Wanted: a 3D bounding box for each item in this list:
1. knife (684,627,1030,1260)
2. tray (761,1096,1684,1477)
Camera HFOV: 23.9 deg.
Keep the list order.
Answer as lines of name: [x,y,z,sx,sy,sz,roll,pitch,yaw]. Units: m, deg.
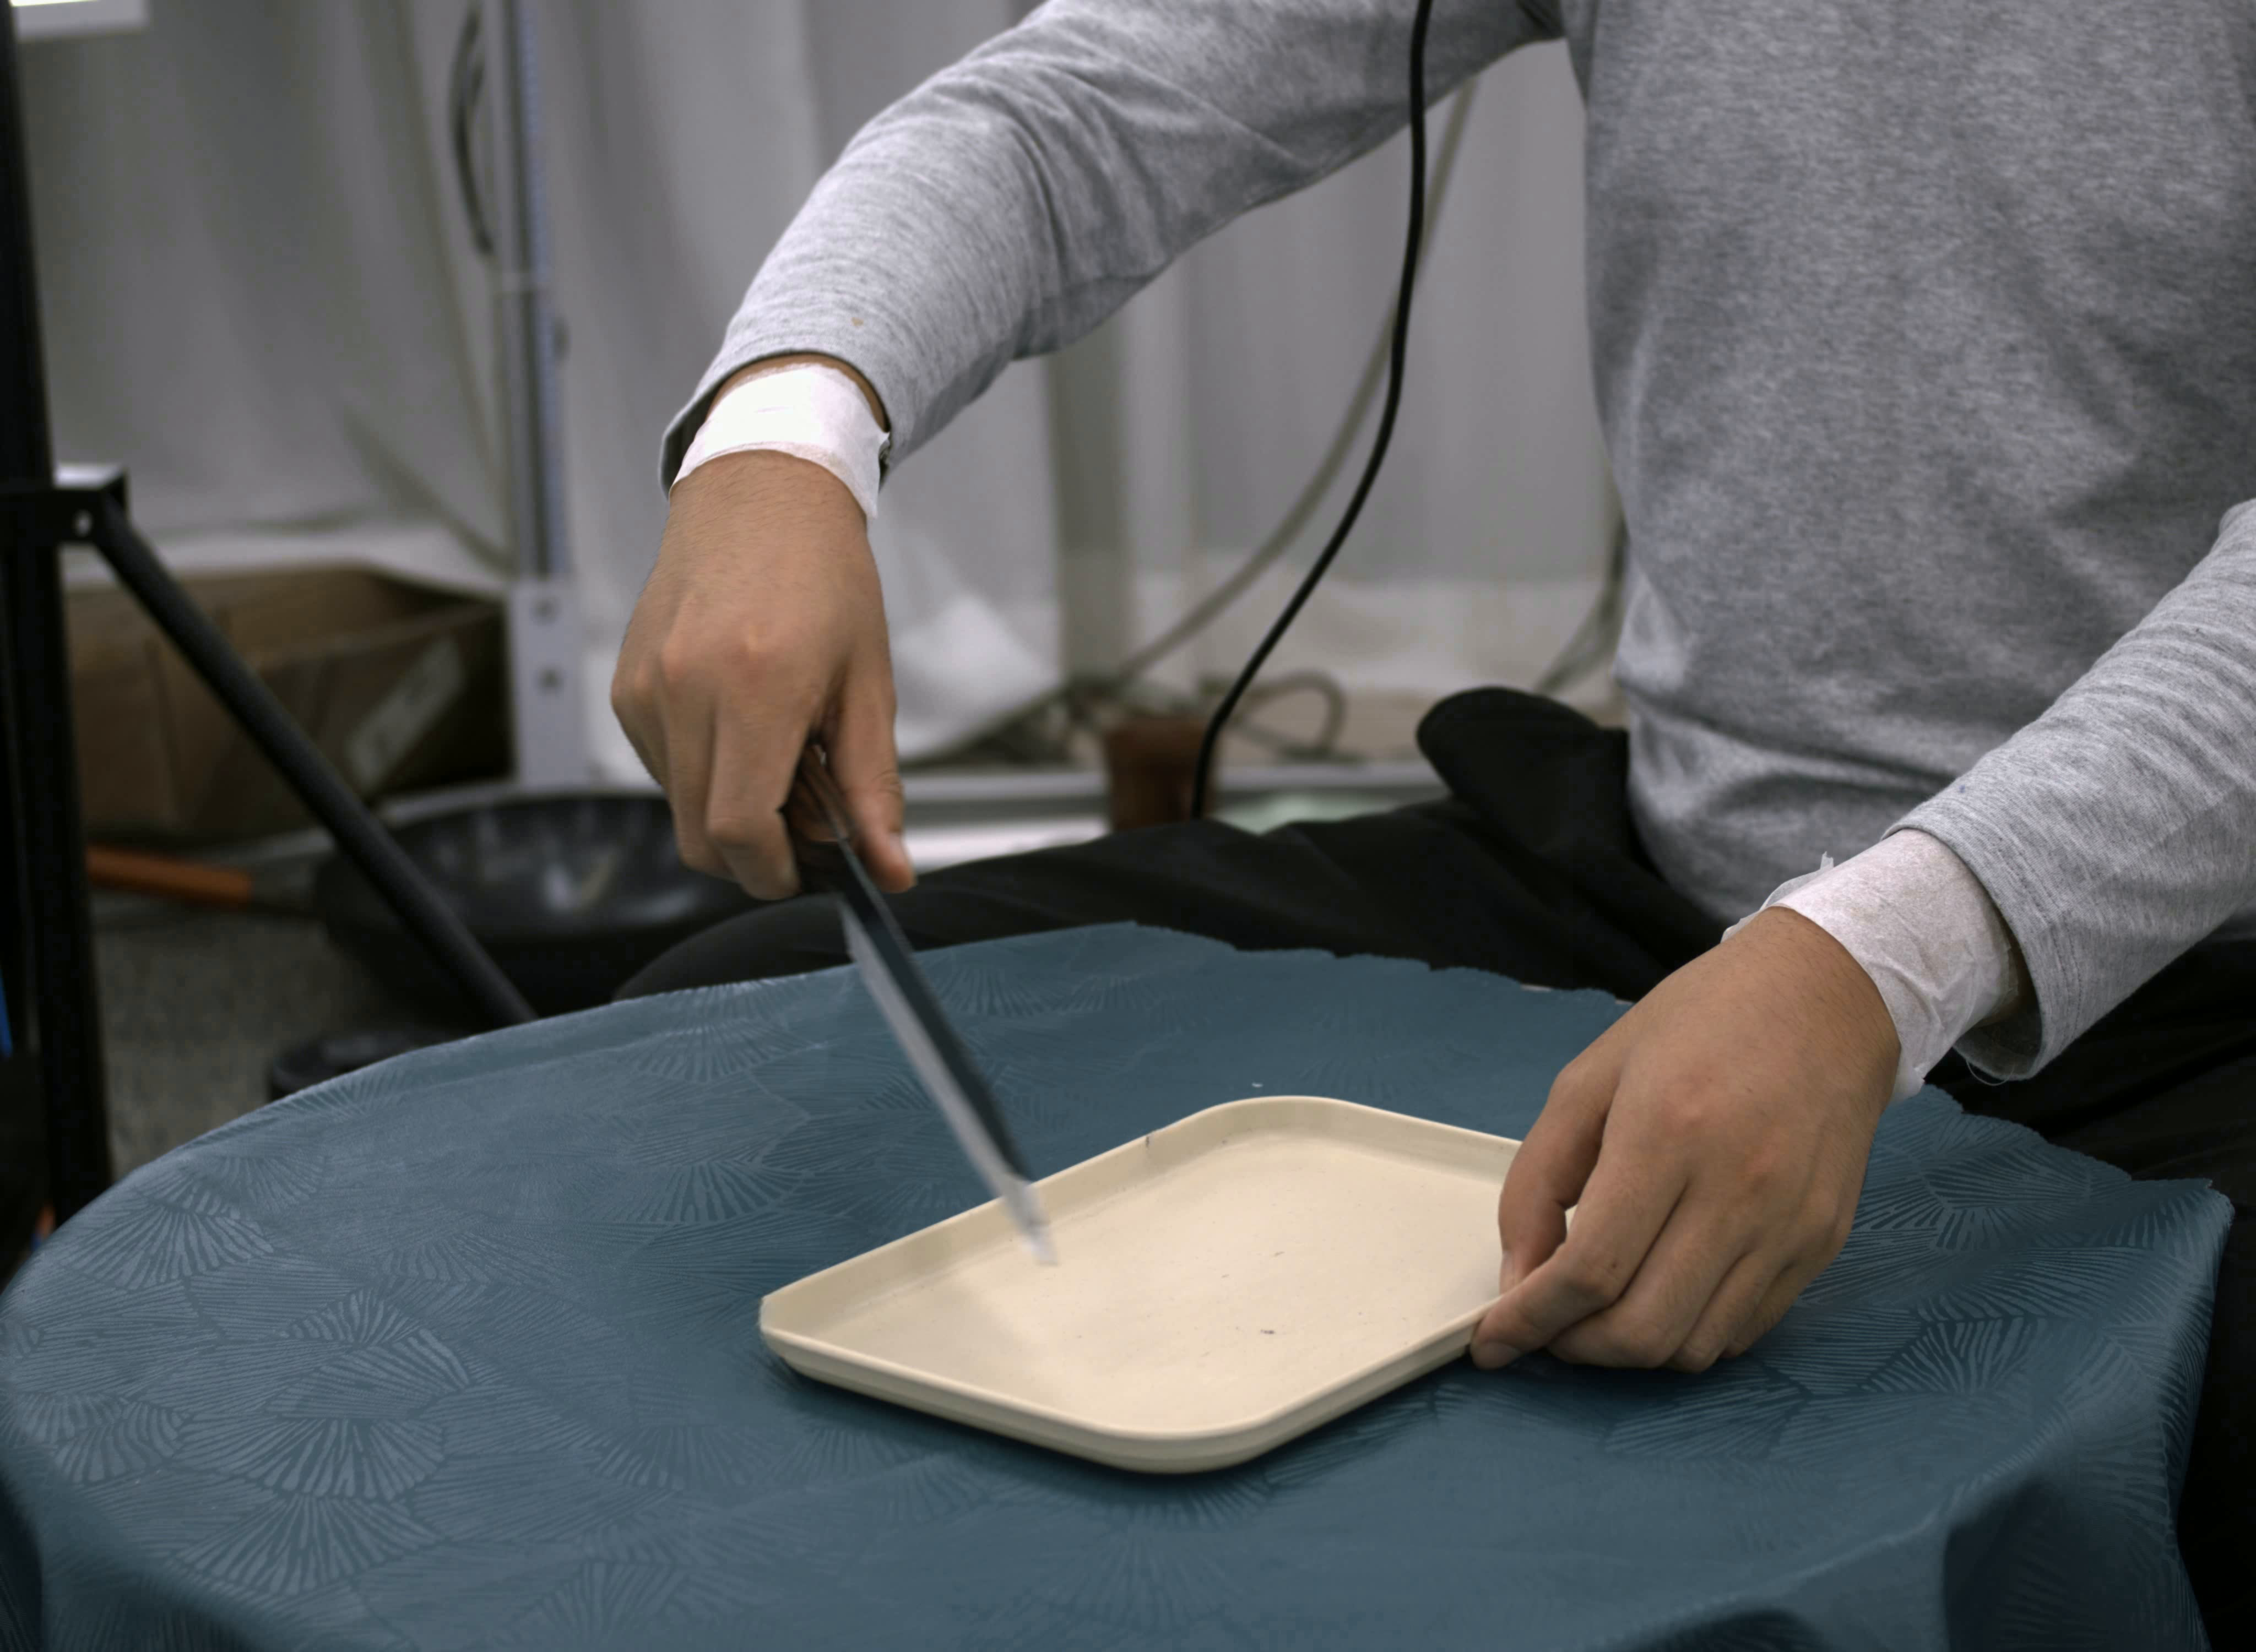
knife: [-0.076,0.029,1.516,0.020,0.050,0.295,-16,40,-13]
tray: [0.029,0.125,1.464,0.175,0.017,0.234,11,21,41]
